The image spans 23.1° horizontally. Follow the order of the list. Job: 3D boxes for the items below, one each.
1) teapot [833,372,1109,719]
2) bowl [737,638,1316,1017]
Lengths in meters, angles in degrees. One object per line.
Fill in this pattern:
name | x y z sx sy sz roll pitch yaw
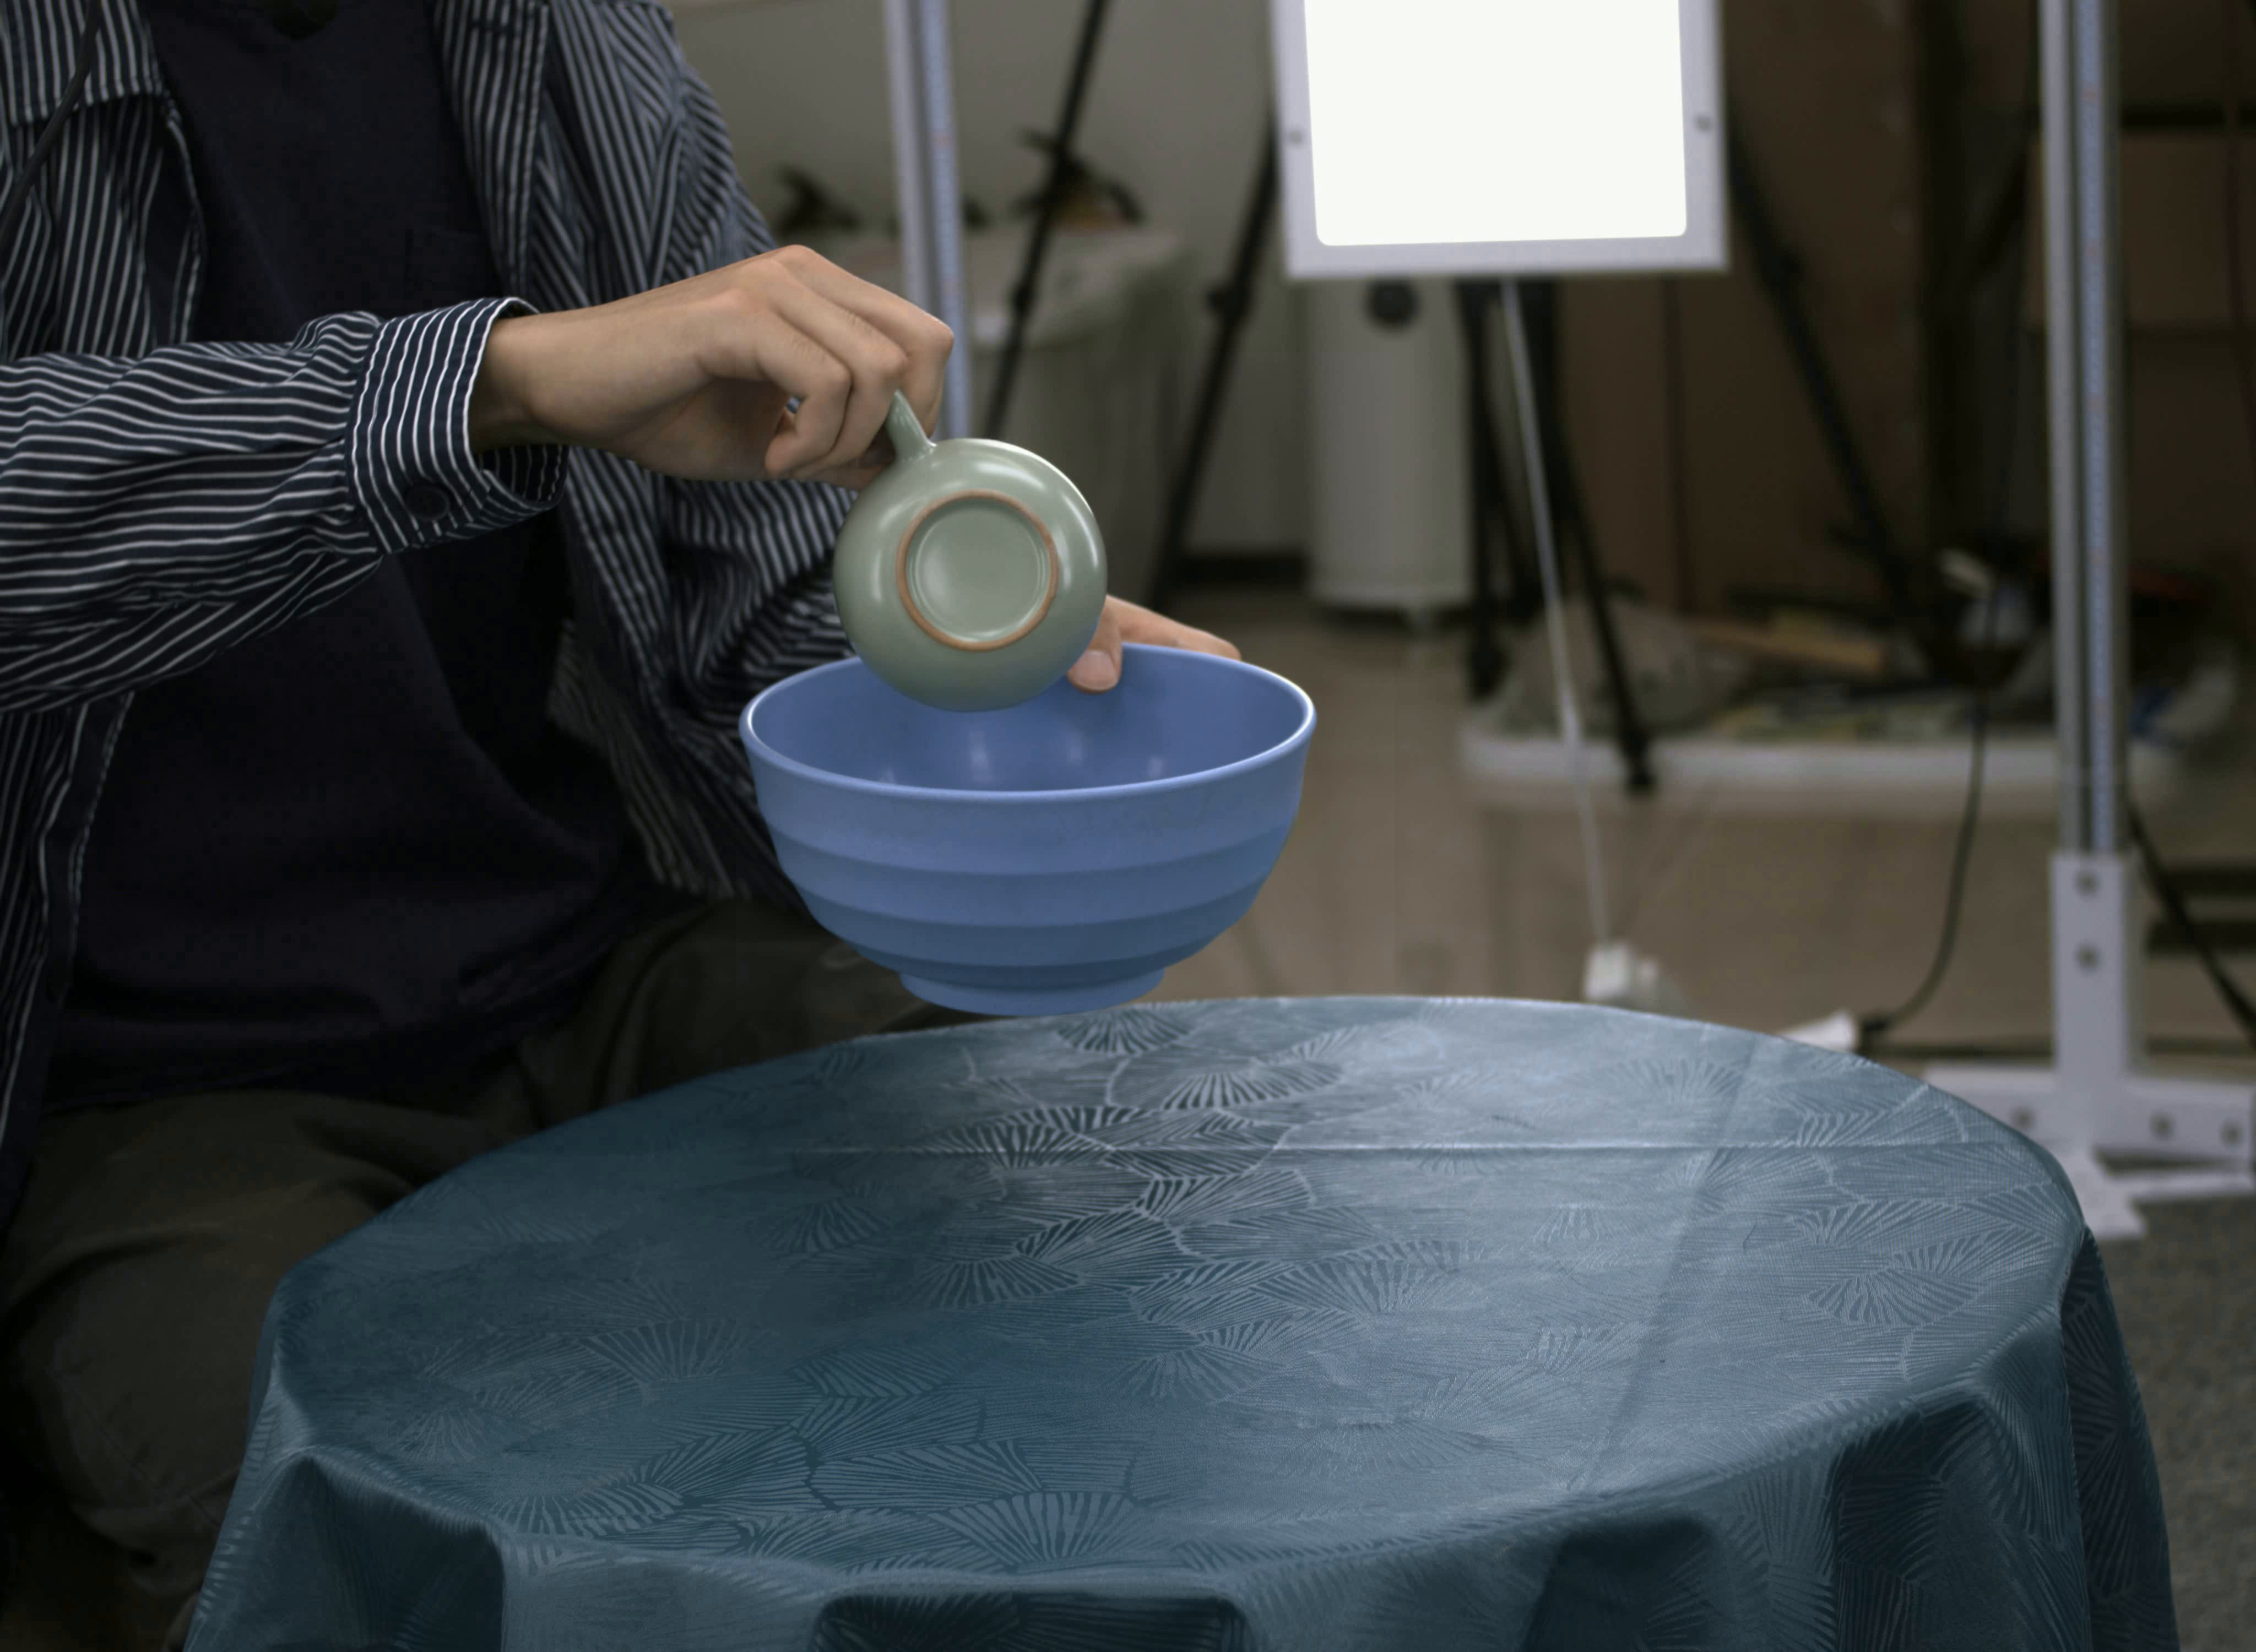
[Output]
teapot | -0.057 -0.093 1.815 0.091 0.128 0.061 -30 2 -2
bowl | -0.034 0.006 1.870 0.196 0.096 0.196 -2 17 -1
